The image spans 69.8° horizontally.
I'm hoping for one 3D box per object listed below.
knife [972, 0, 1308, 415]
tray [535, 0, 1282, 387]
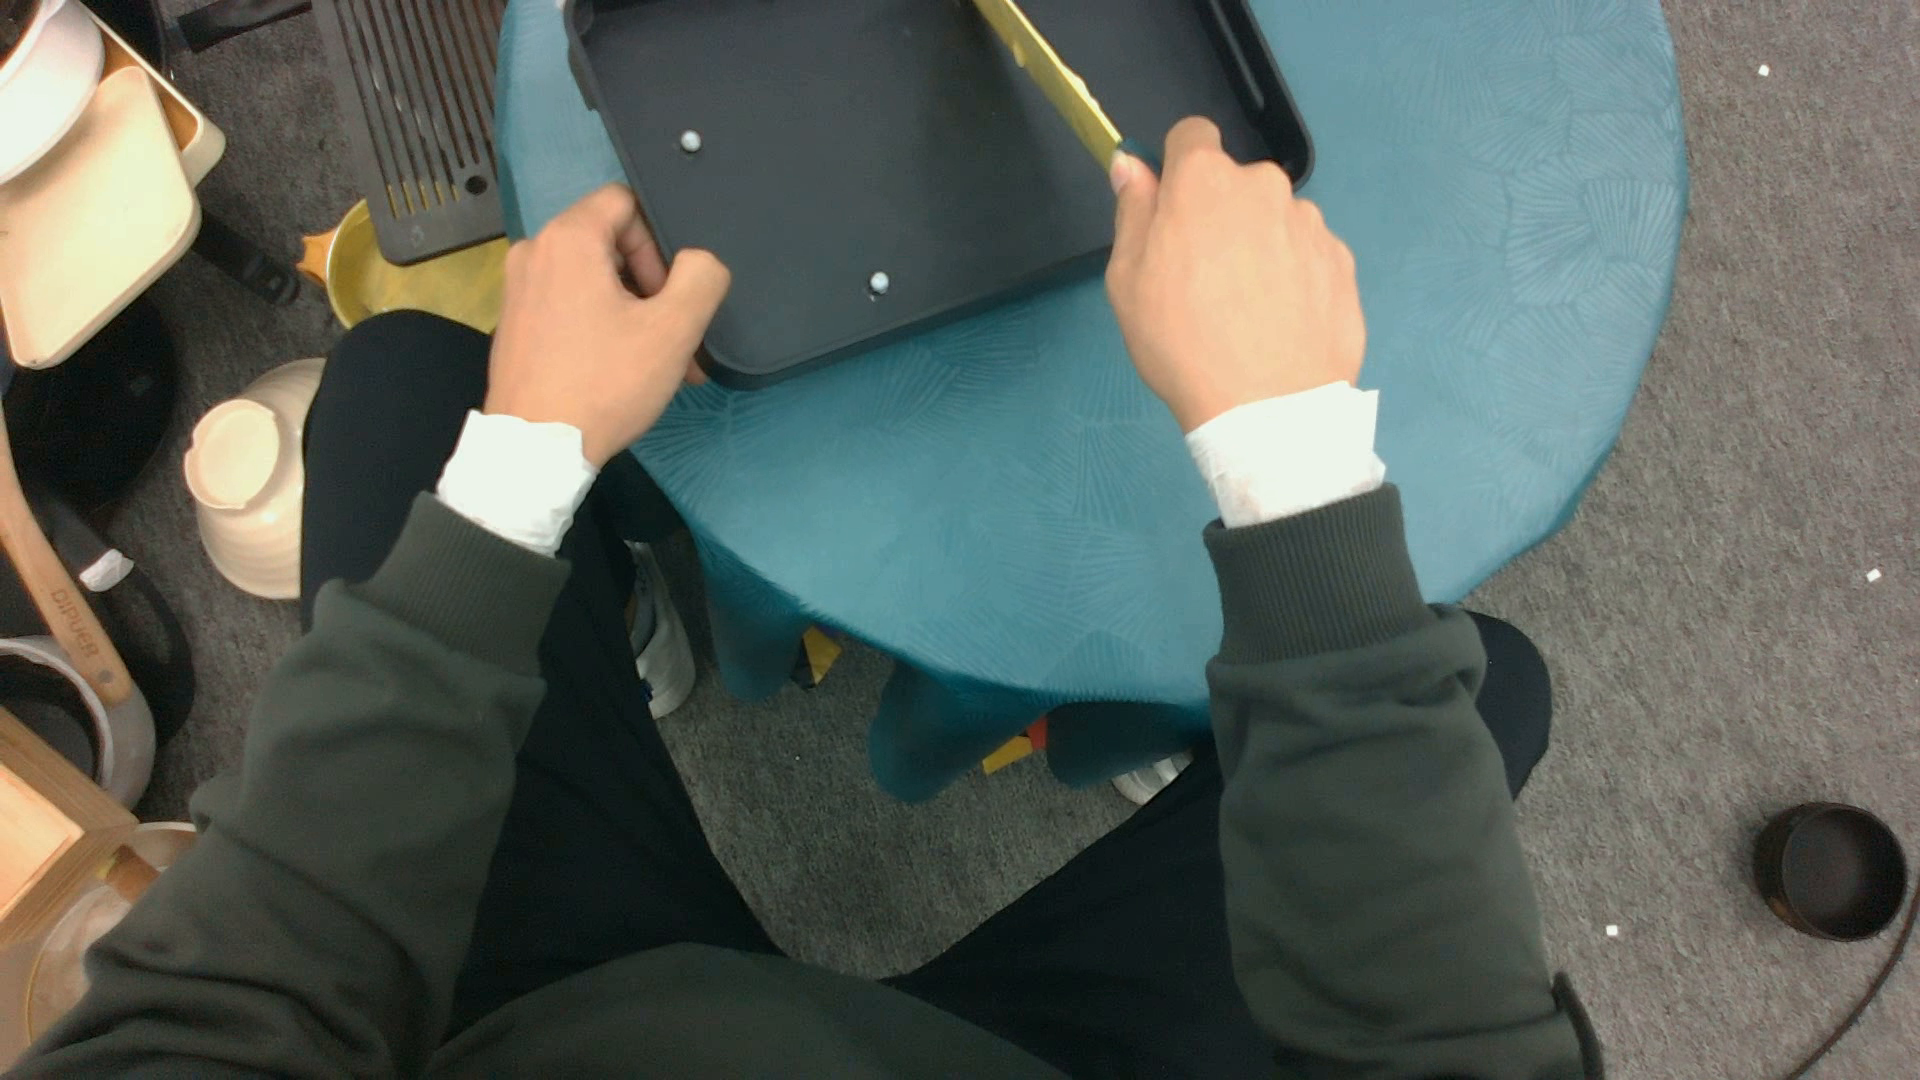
[{"bbox_3d":[0.059,-0.164,0.588,0.027,0.081,0.290,-35,68,9],"label":"knife"},{"bbox_3d":[-0.013,-0.202,0.631,0.319,0.037,0.184,-24,88,-22],"label":"tray"}]
